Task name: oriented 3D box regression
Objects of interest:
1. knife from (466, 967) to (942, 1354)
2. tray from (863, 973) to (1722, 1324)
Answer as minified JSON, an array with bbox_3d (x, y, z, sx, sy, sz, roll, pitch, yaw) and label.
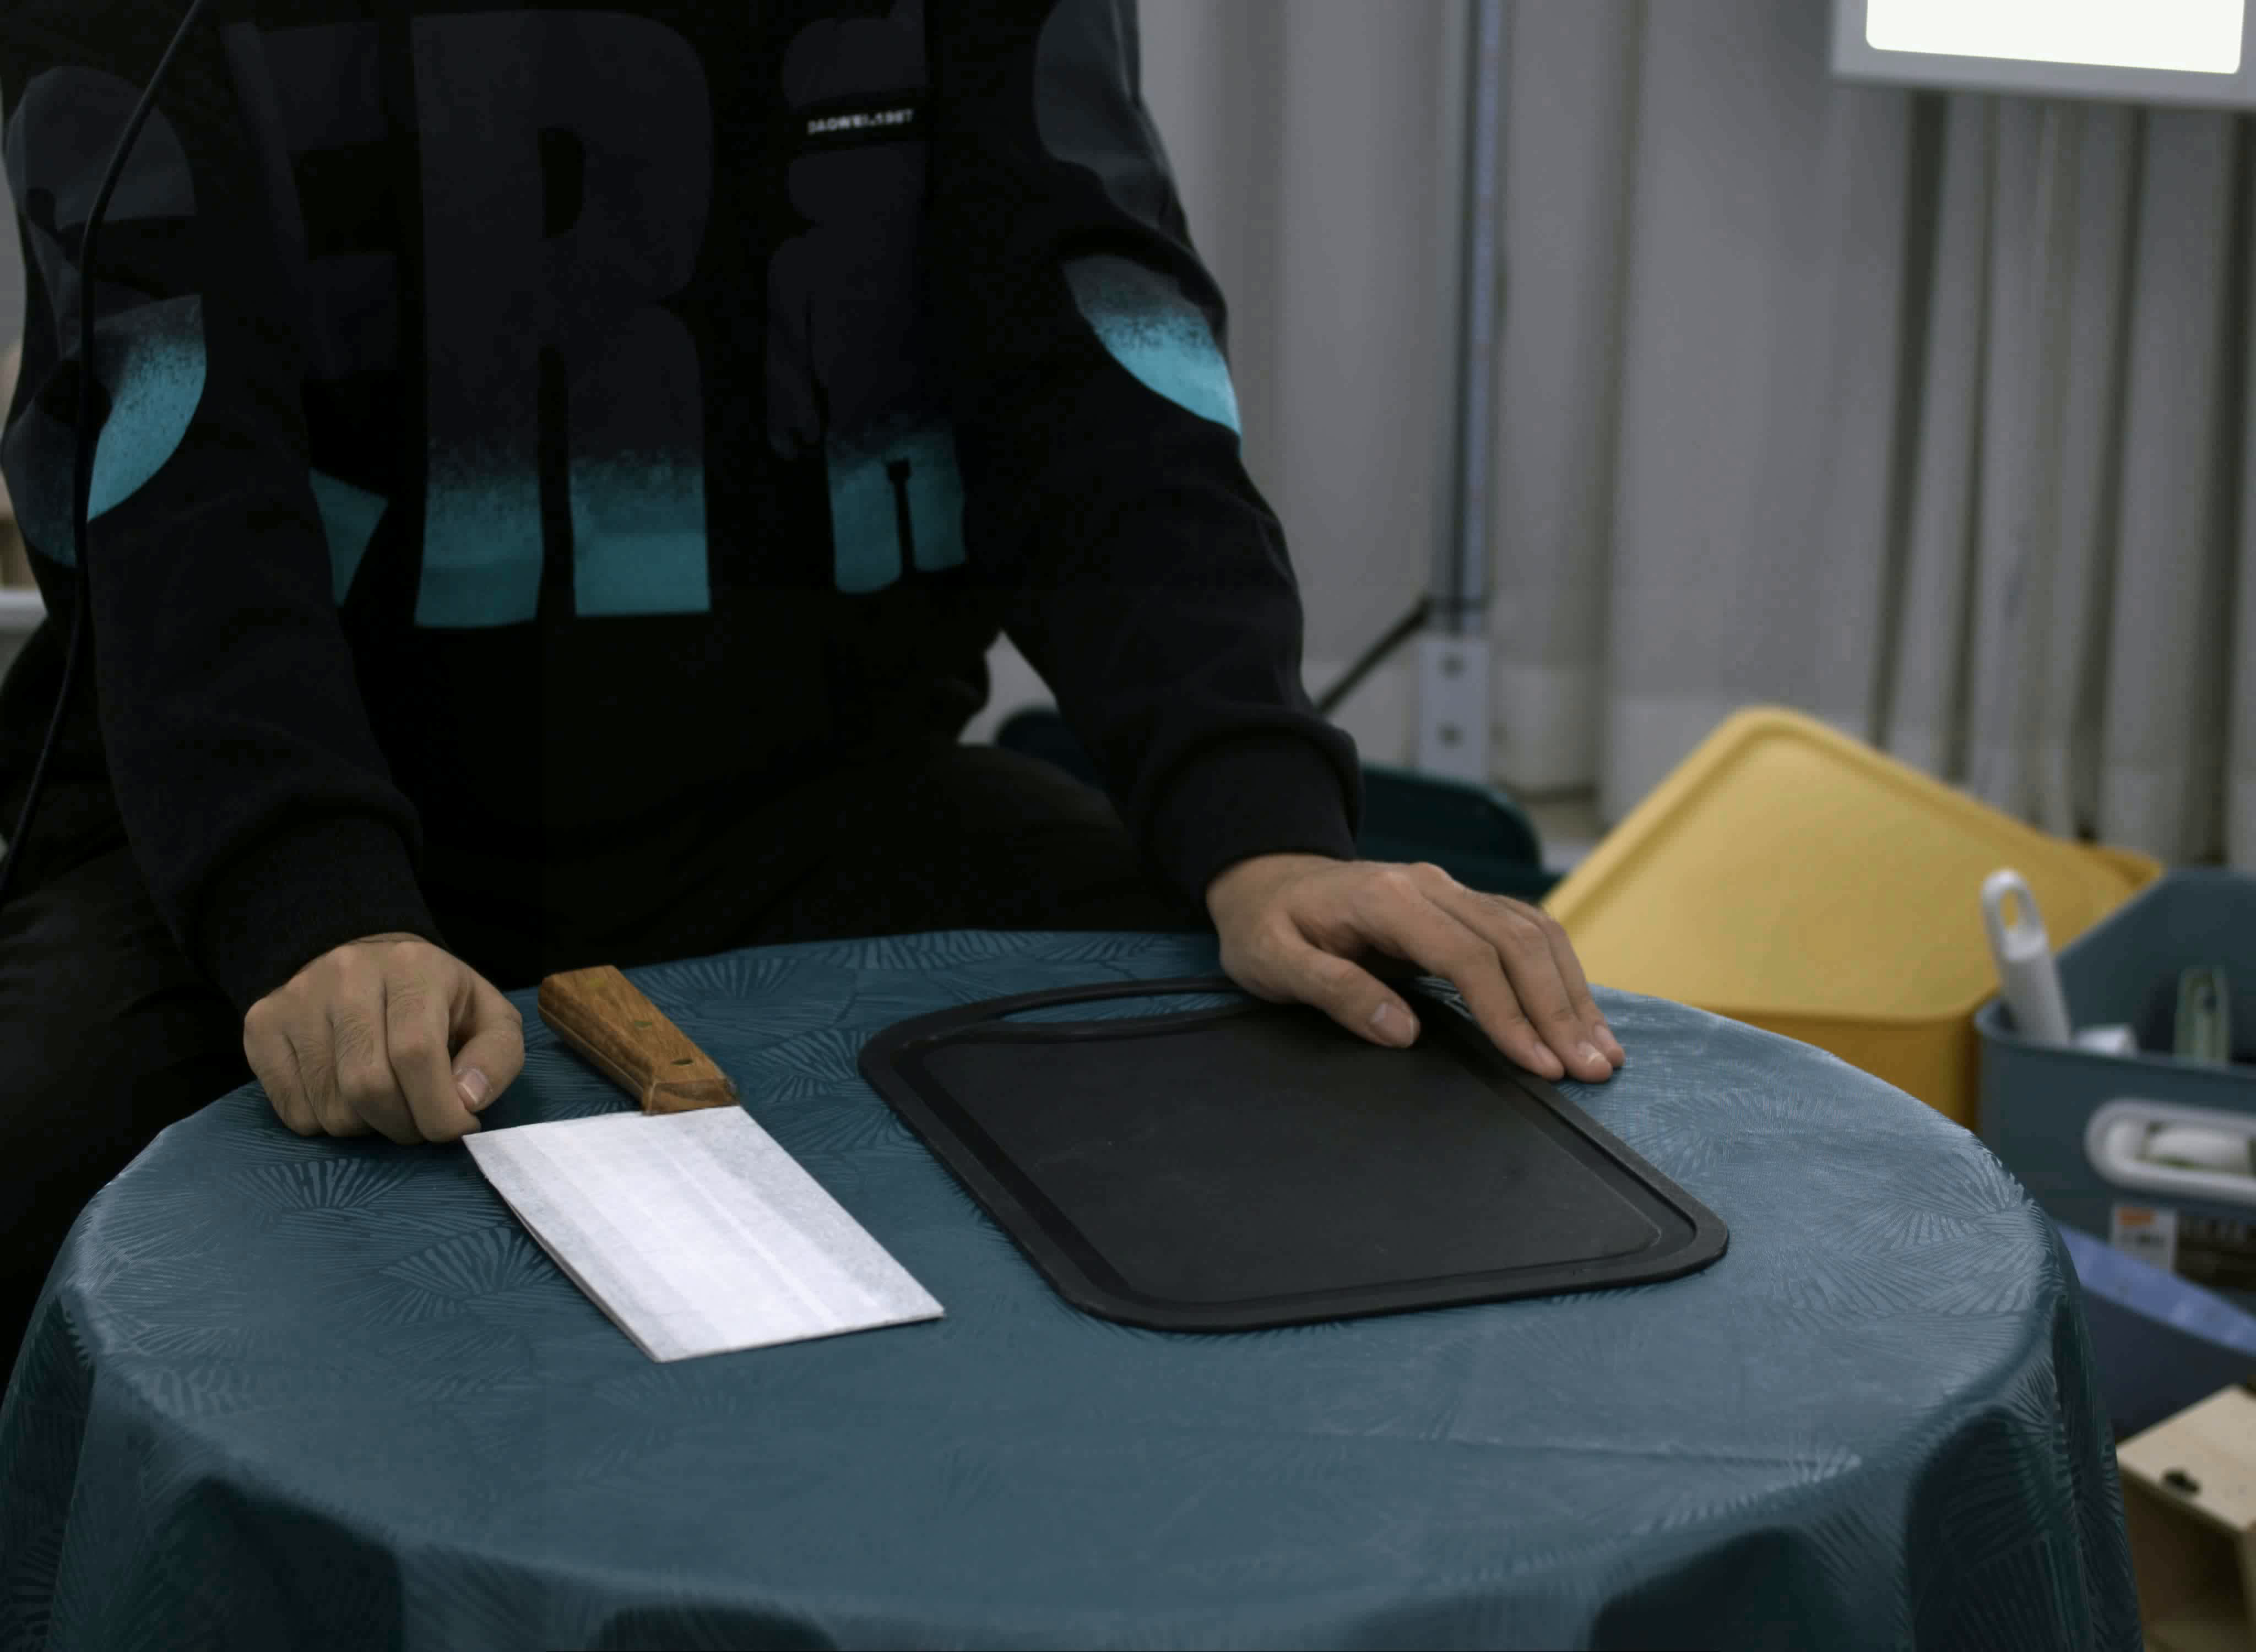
[{"bbox_3d":[-0.151,0.102,1.627,0.093,0.021,0.302,-8,20,-22],"label":"knife"},{"bbox_3d":[0.041,0.095,1.672,0.211,0.010,0.322,-5,17,-17],"label":"tray"}]
